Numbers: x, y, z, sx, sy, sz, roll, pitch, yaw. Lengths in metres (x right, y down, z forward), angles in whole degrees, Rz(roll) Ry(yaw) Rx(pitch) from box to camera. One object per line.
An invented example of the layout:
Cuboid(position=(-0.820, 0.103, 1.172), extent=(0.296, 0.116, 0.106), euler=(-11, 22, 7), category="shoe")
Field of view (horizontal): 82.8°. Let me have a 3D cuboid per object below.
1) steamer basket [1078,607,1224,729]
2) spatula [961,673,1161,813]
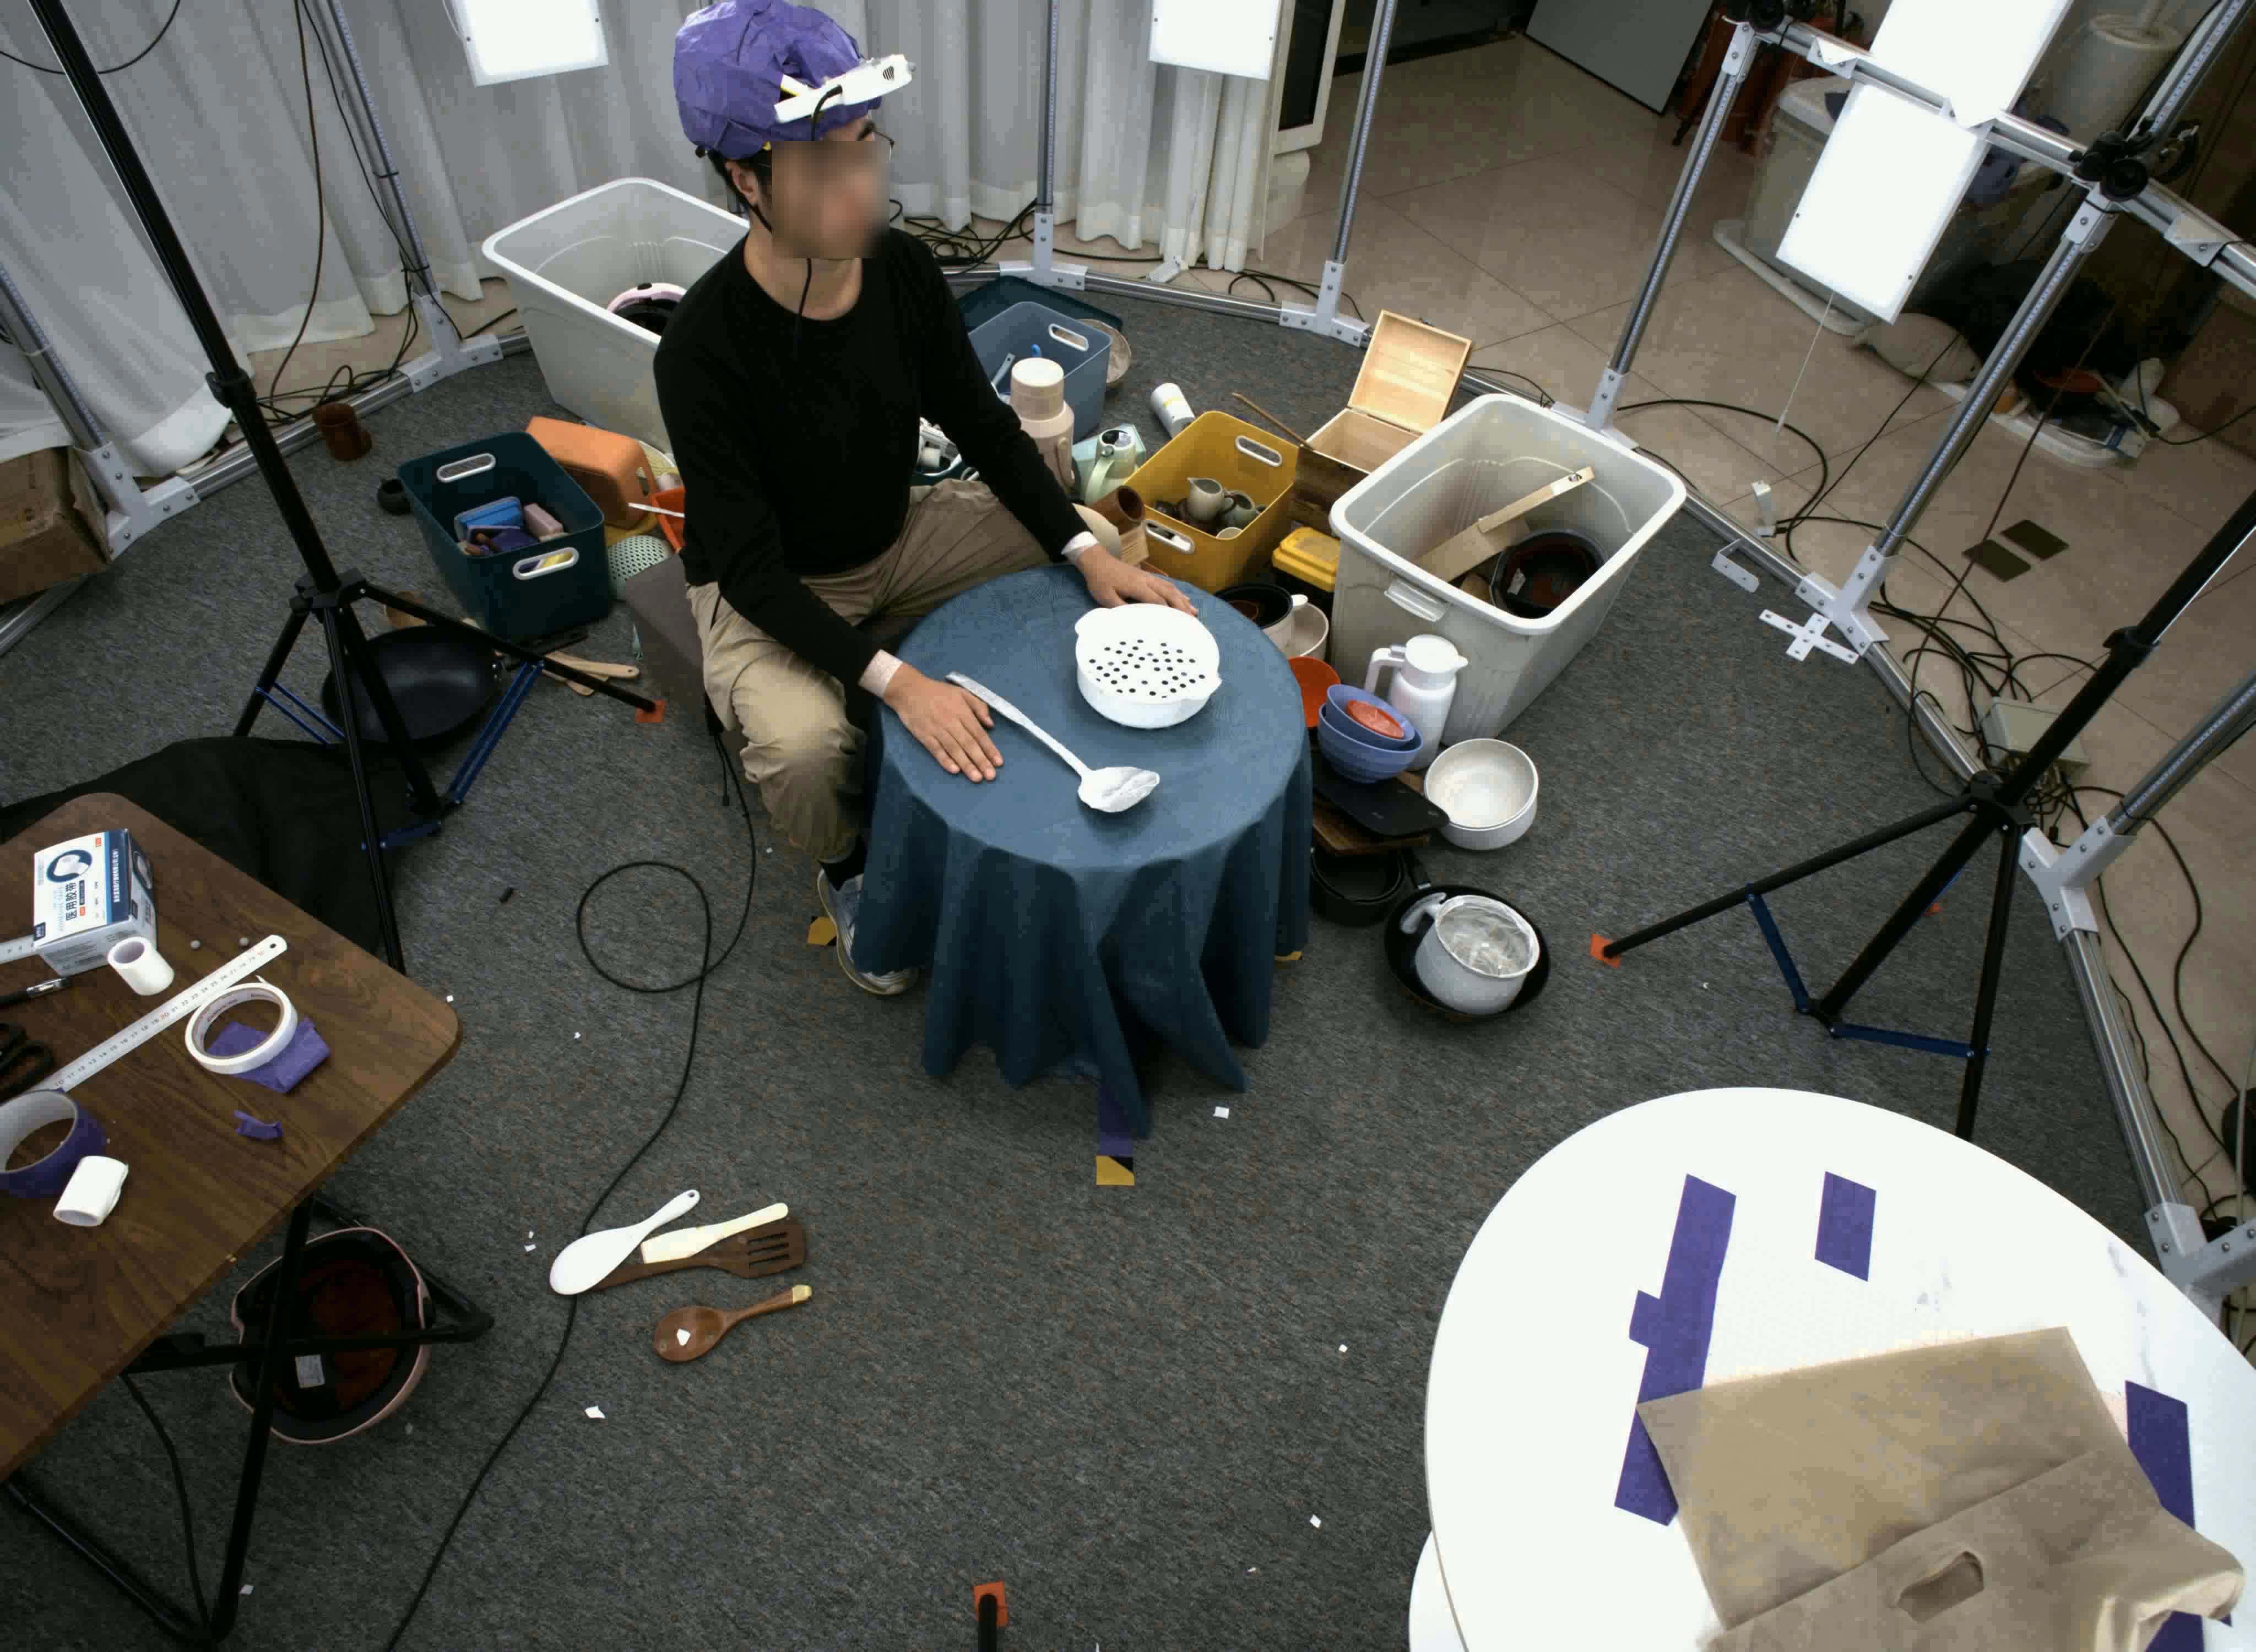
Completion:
Cuboid(position=(0.030, -0.224, 1.821), extent=(0.233, 0.067, 0.204), euler=(32, 53, 23), category="steamer basket")
Cuboid(position=(-0.111, -0.125, 1.747), extent=(0.370, 0.044, 0.099), euler=(38, 59, 25), category="spatula")
